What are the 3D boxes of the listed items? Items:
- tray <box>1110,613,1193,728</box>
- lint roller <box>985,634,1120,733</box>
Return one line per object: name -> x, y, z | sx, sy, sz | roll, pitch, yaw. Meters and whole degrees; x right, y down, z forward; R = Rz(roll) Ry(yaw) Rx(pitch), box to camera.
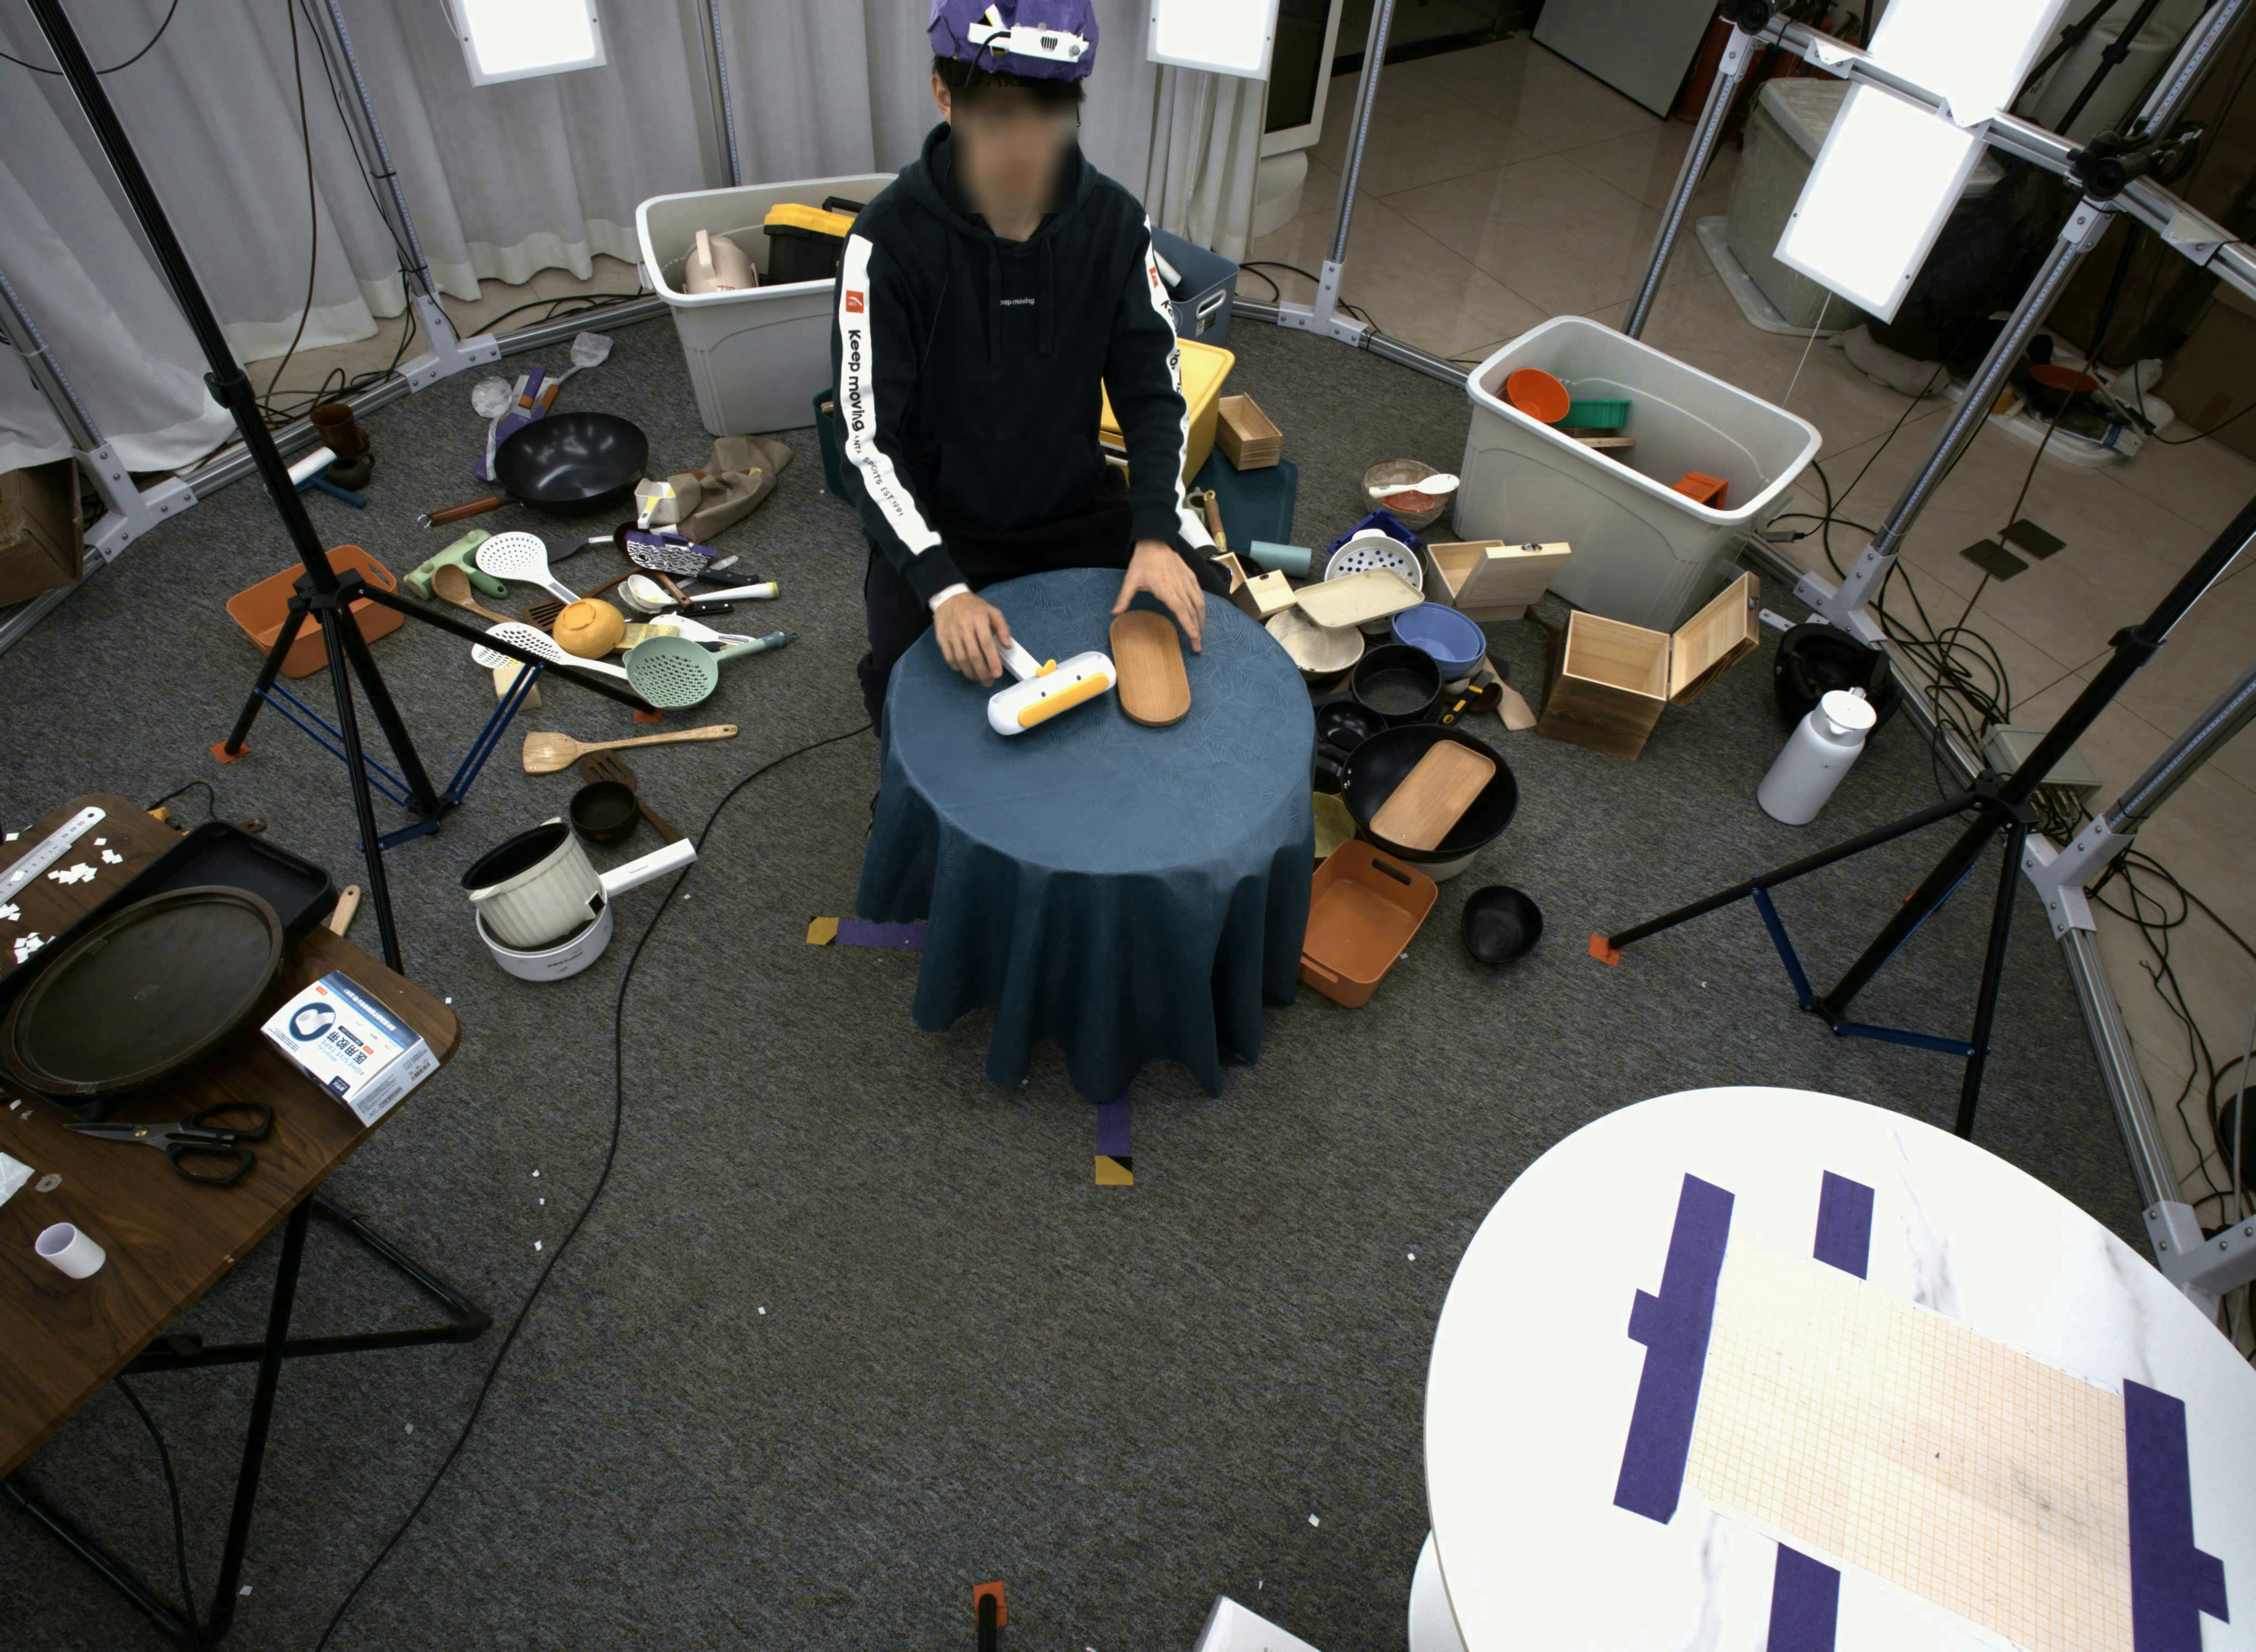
tray -> 0.033, -0.228, 1.857 | 0.101, 0.020, 0.237 | -4, 50, -7
lint roller -> -0.134, -0.217, 1.817 | 0.194, 0.072, 0.196 | -34, 40, -21
